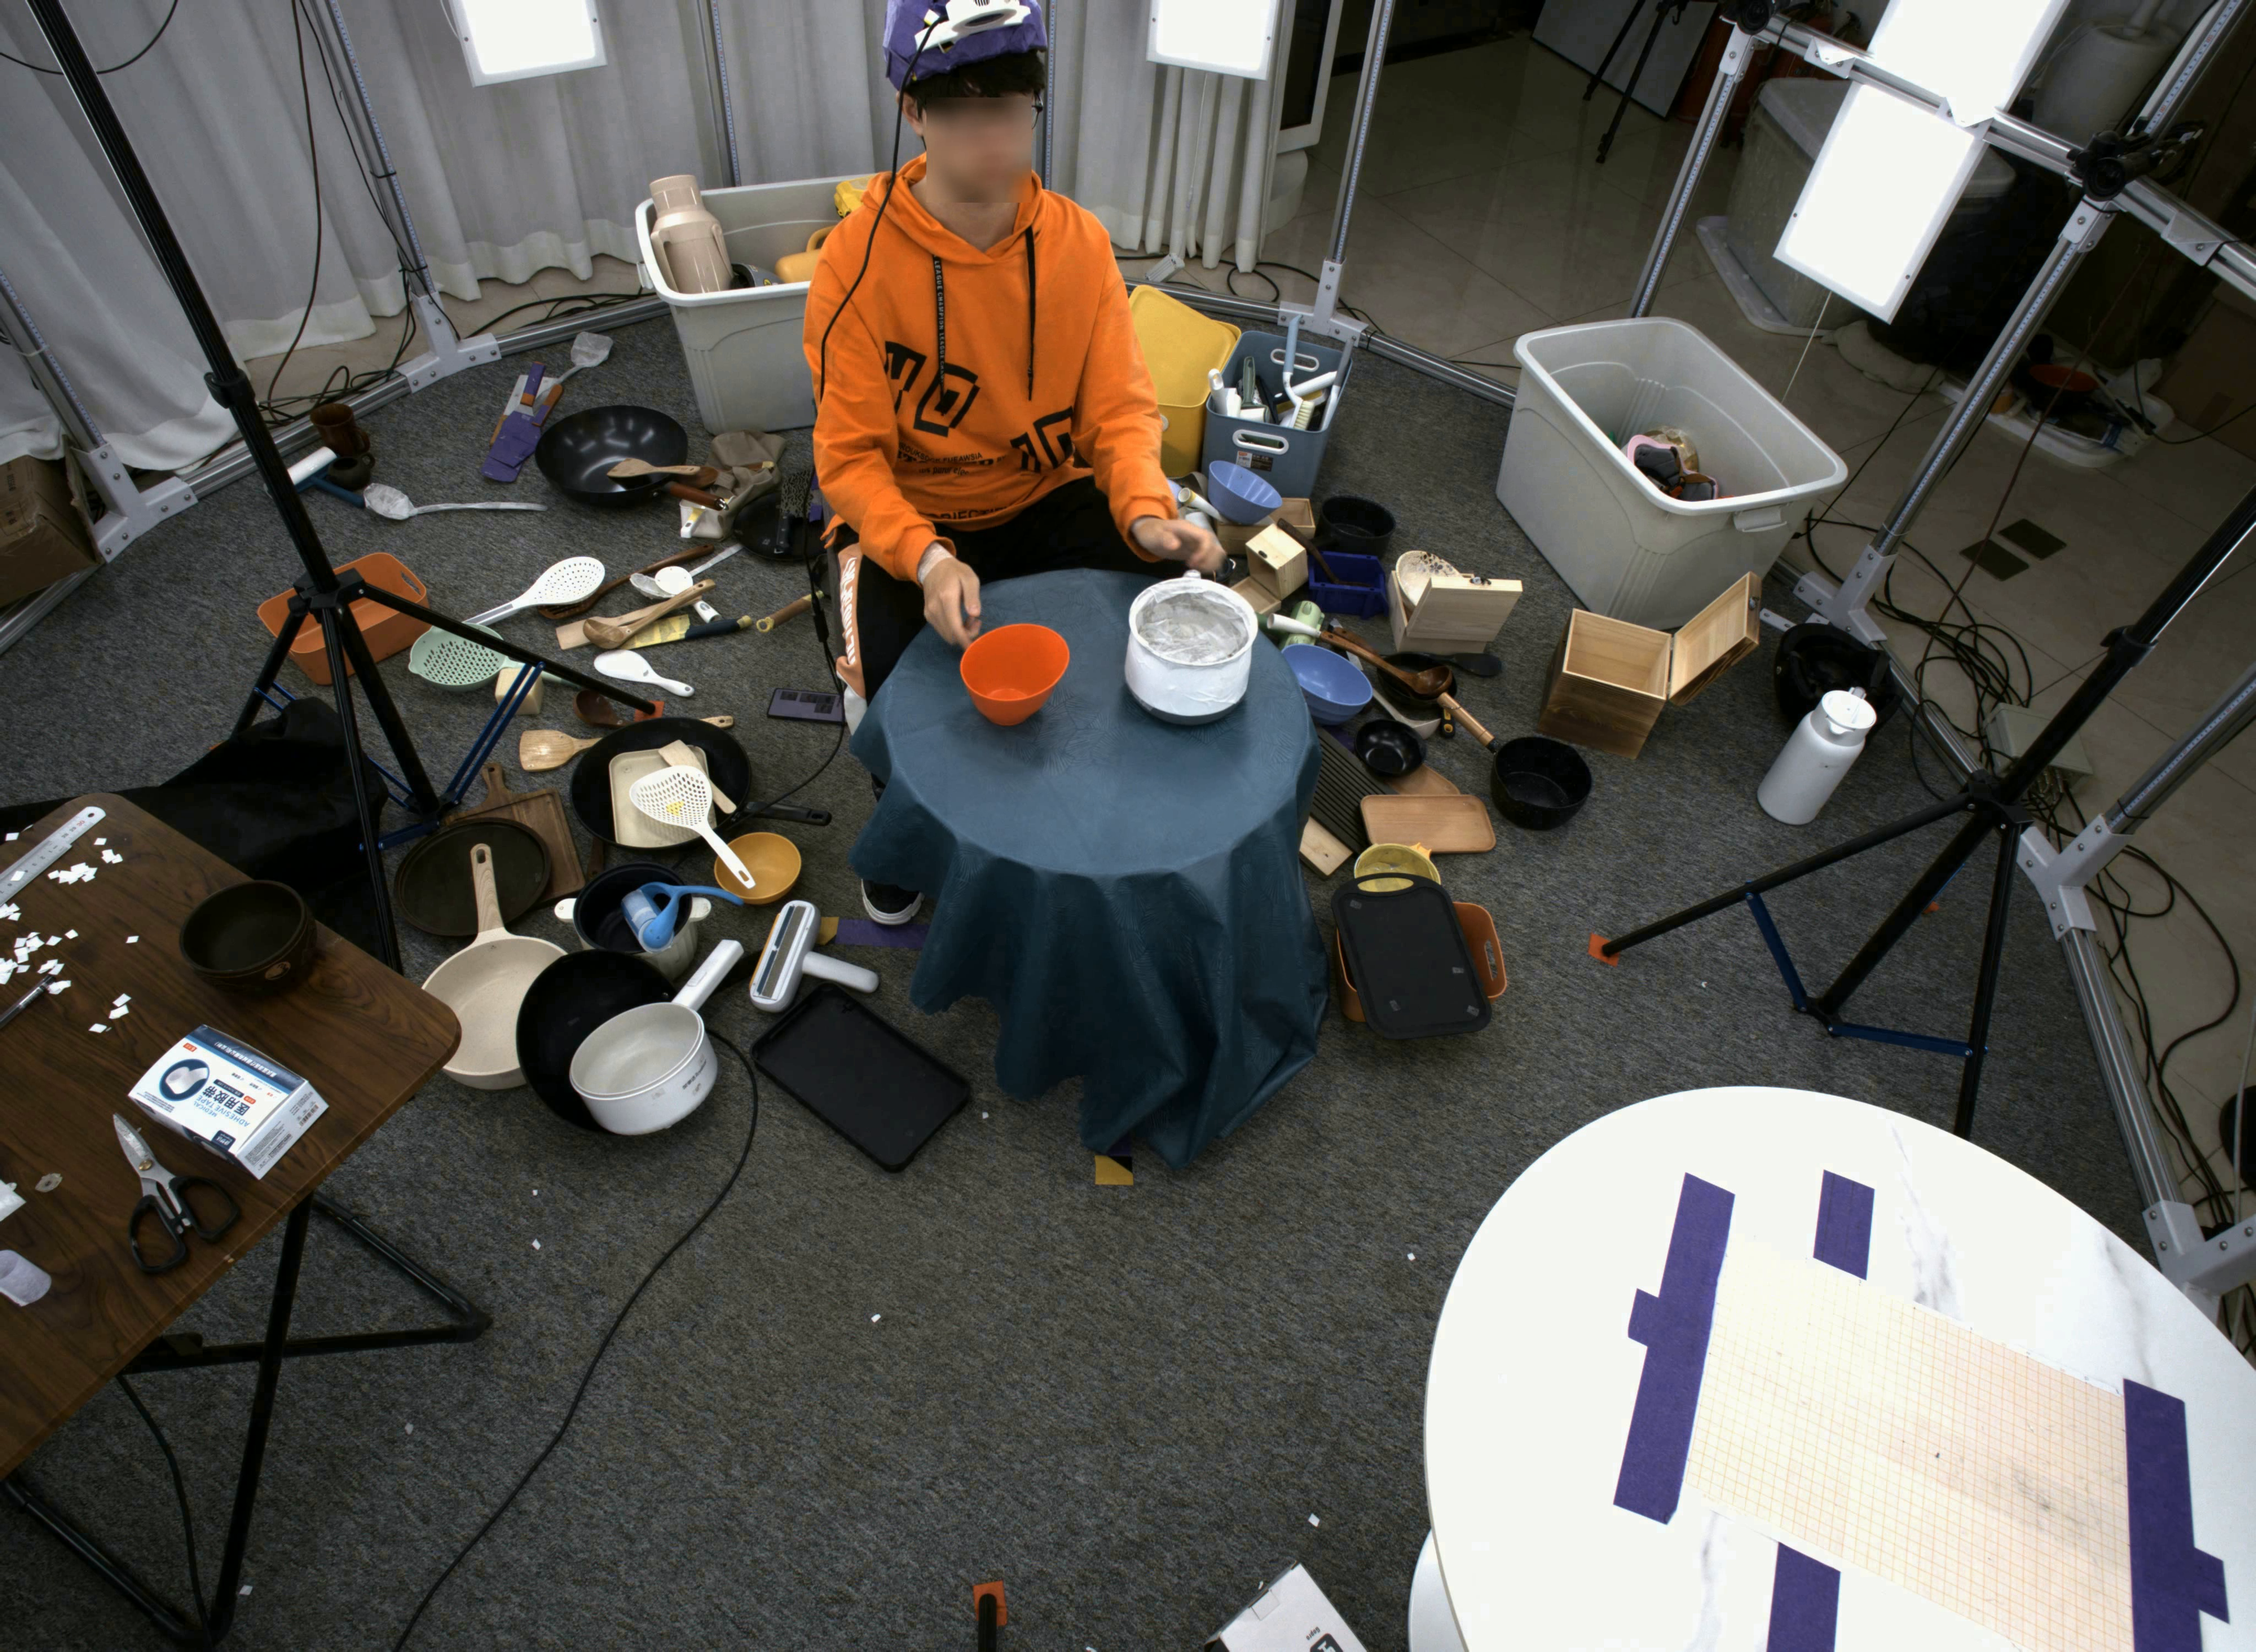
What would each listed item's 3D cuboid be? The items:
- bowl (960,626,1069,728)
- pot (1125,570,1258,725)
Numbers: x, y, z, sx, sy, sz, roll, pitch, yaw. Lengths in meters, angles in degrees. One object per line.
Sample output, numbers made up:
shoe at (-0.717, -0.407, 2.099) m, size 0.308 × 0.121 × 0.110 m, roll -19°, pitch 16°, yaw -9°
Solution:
bowl at (-0.155, -0.194, 1.764) m, size 0.148 × 0.102 × 0.152 m, roll 1°, pitch 49°, yaw -1°
pot at (0.085, -0.261, 1.813) m, size 0.178 × 0.133 × 0.239 m, roll 3°, pitch 49°, yaw -2°
